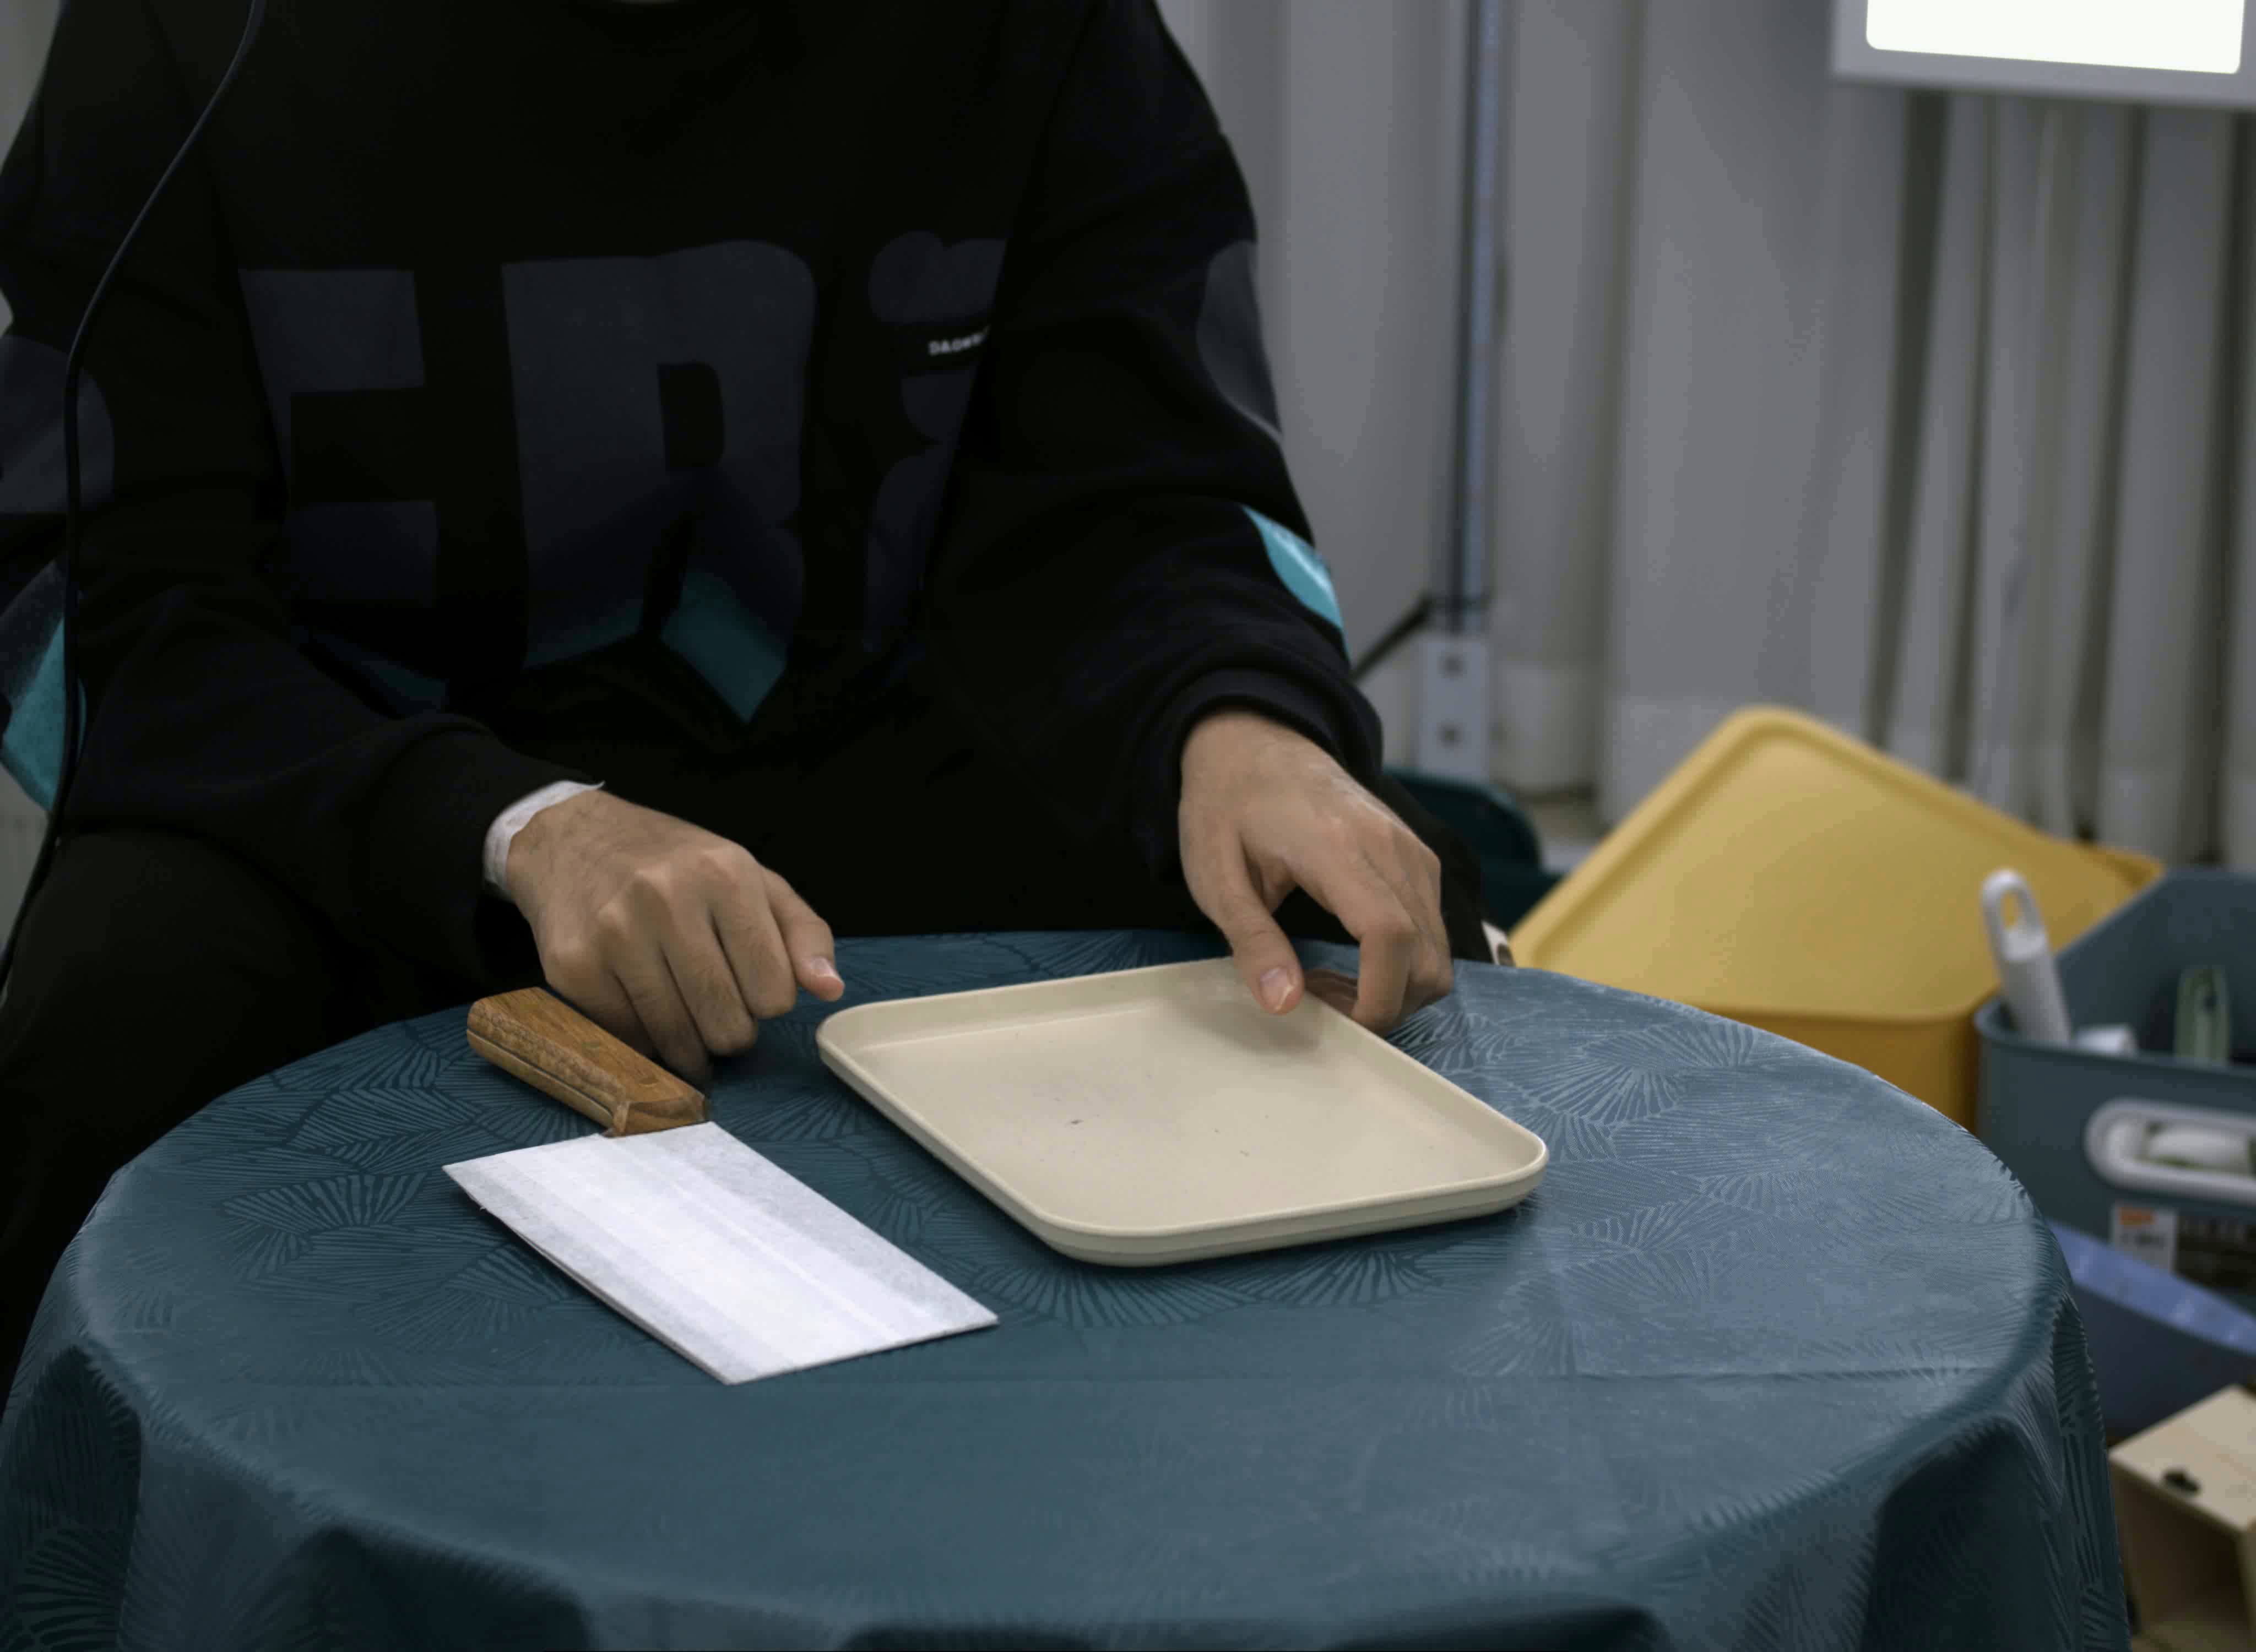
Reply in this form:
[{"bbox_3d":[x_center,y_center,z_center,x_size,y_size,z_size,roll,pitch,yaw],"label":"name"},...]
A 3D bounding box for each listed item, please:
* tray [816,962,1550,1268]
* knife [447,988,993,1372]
[{"bbox_3d":[0.014,0.090,1.668,0.172,0.017,0.237,-7,17,-23],"label":"tray"},{"bbox_3d":[-0.152,0.107,1.607,0.093,0.021,0.301,-11,21,-30],"label":"knife"}]
